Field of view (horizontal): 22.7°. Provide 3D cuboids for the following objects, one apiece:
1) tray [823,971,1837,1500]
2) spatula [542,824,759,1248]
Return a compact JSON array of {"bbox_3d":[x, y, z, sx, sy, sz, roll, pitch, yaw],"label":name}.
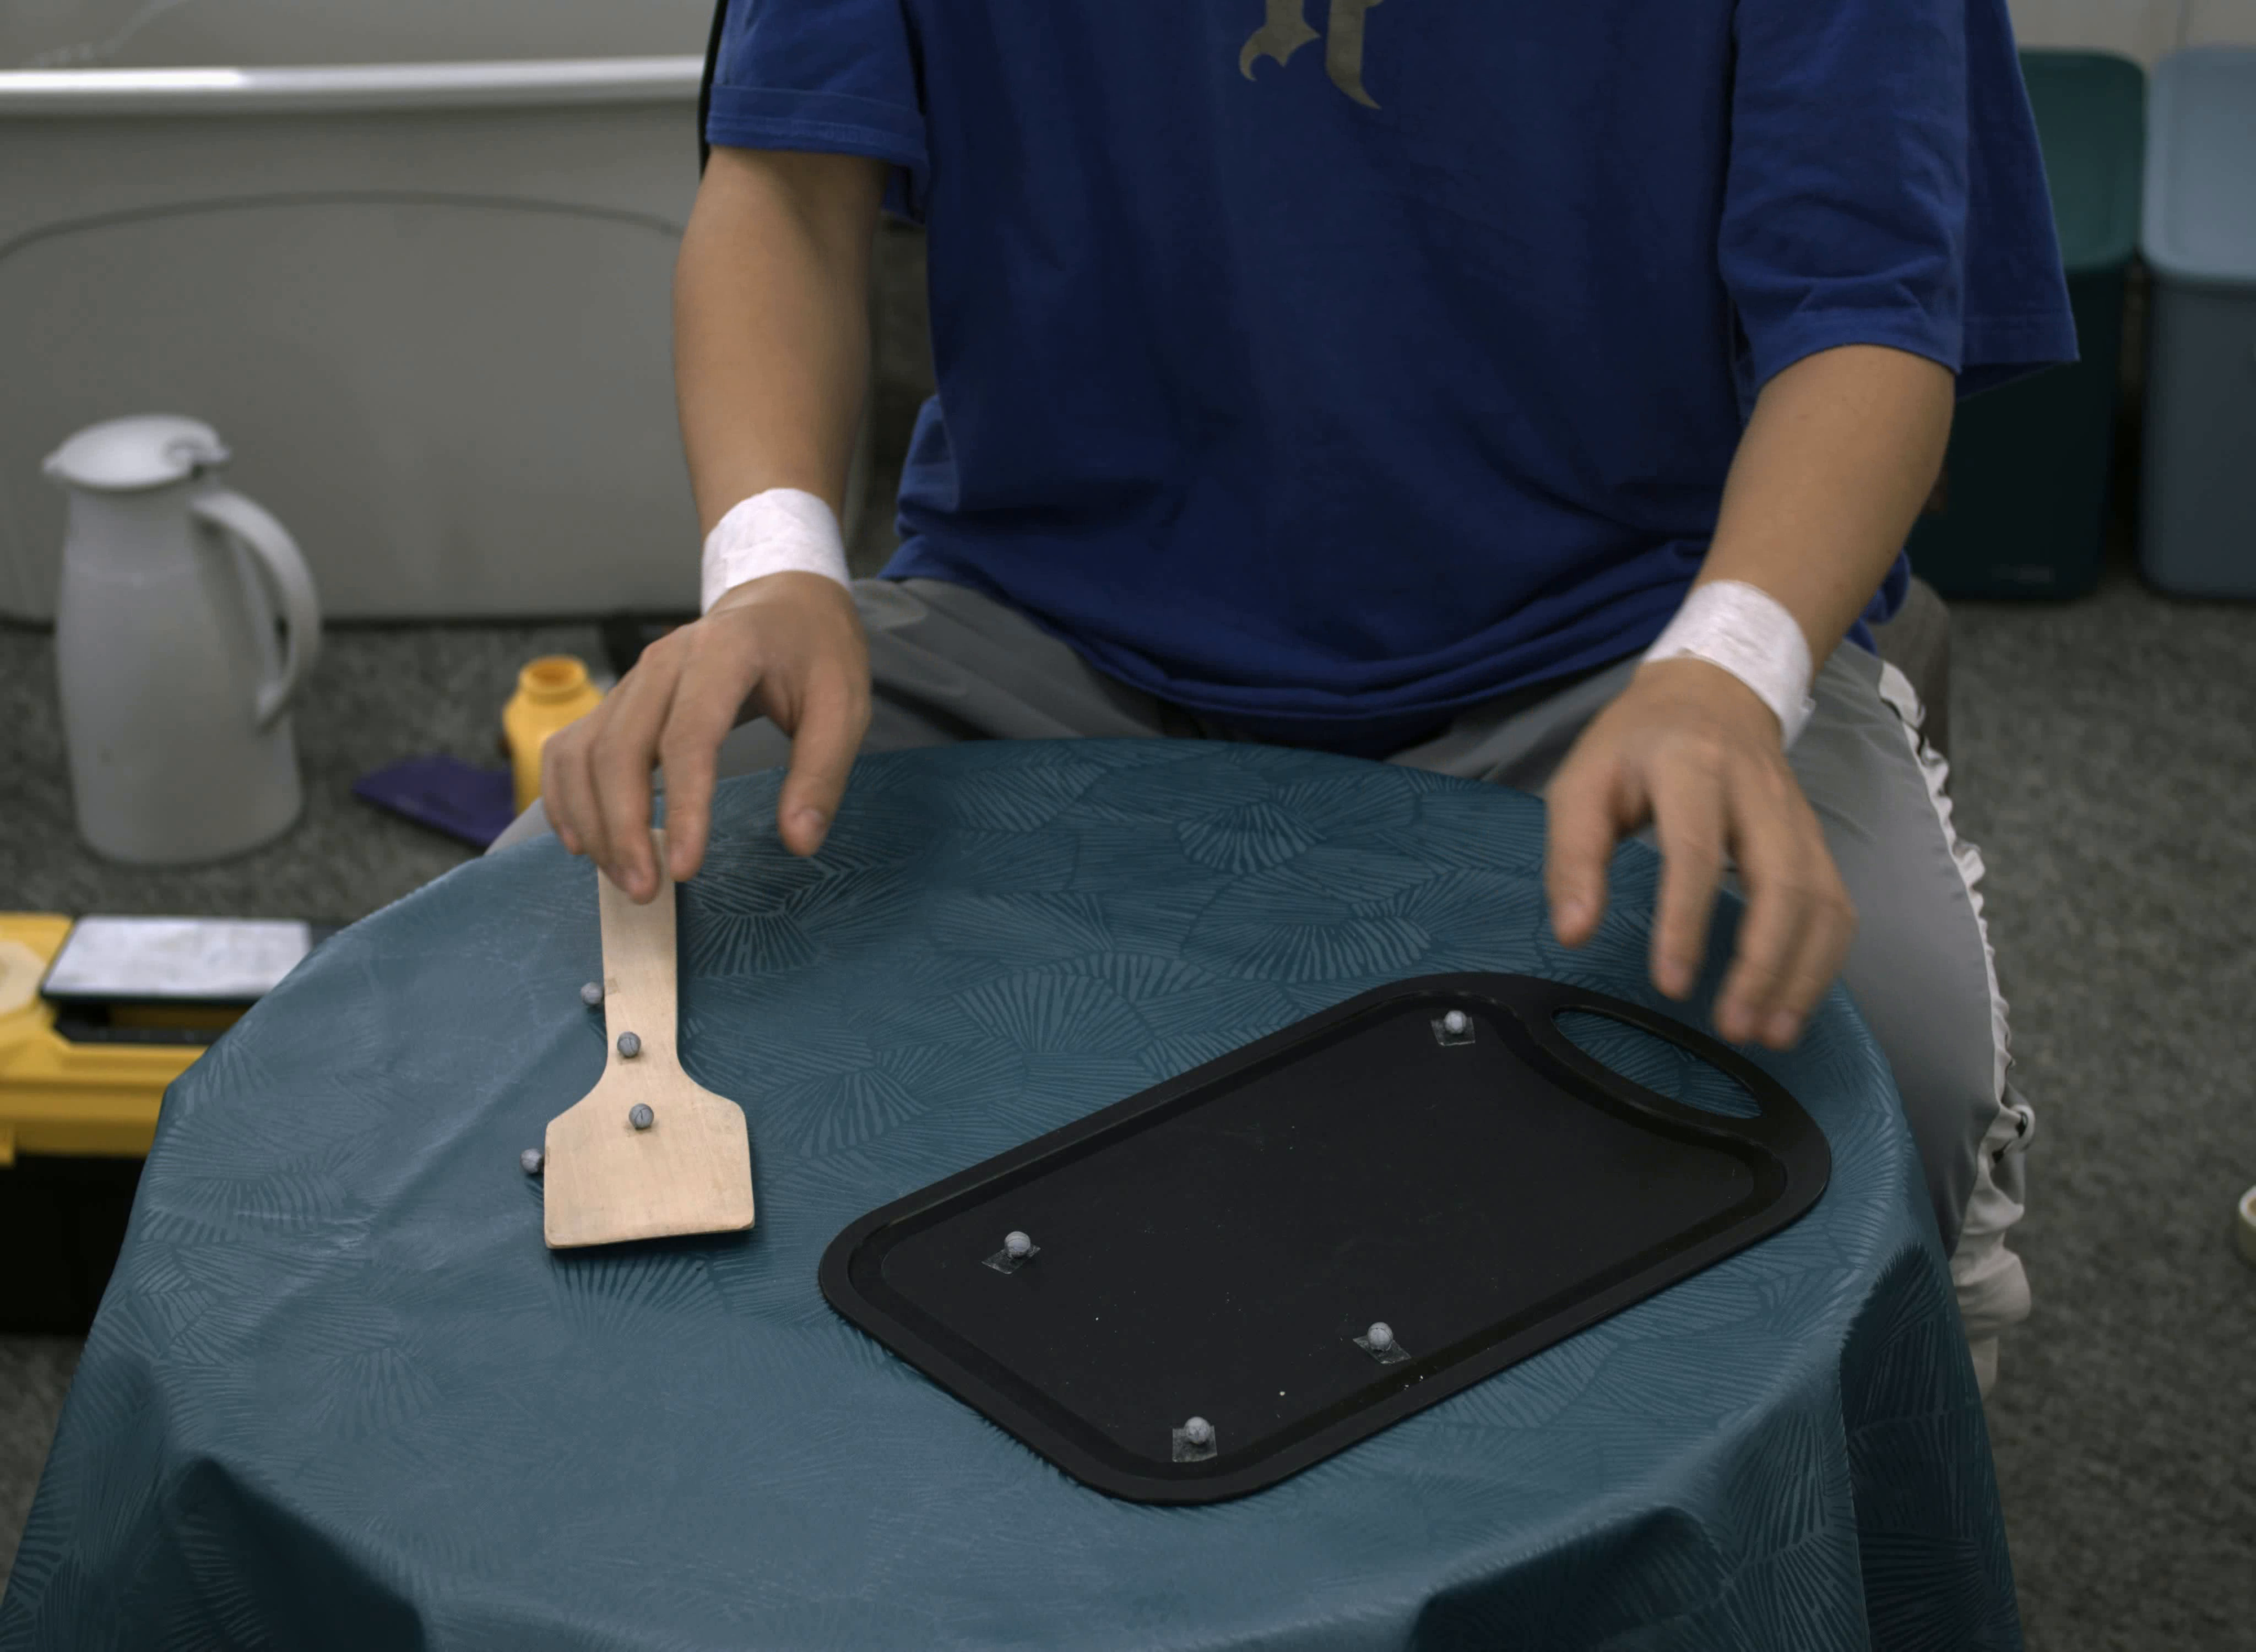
[{"bbox_3d":[0.073,0.123,1.842,0.328,0.009,0.211,-22,33,-32],"label":"tray"},{"bbox_3d":[-0.170,0.070,1.968,0.072,0.010,0.297,-6,28,-3],"label":"spatula"}]
